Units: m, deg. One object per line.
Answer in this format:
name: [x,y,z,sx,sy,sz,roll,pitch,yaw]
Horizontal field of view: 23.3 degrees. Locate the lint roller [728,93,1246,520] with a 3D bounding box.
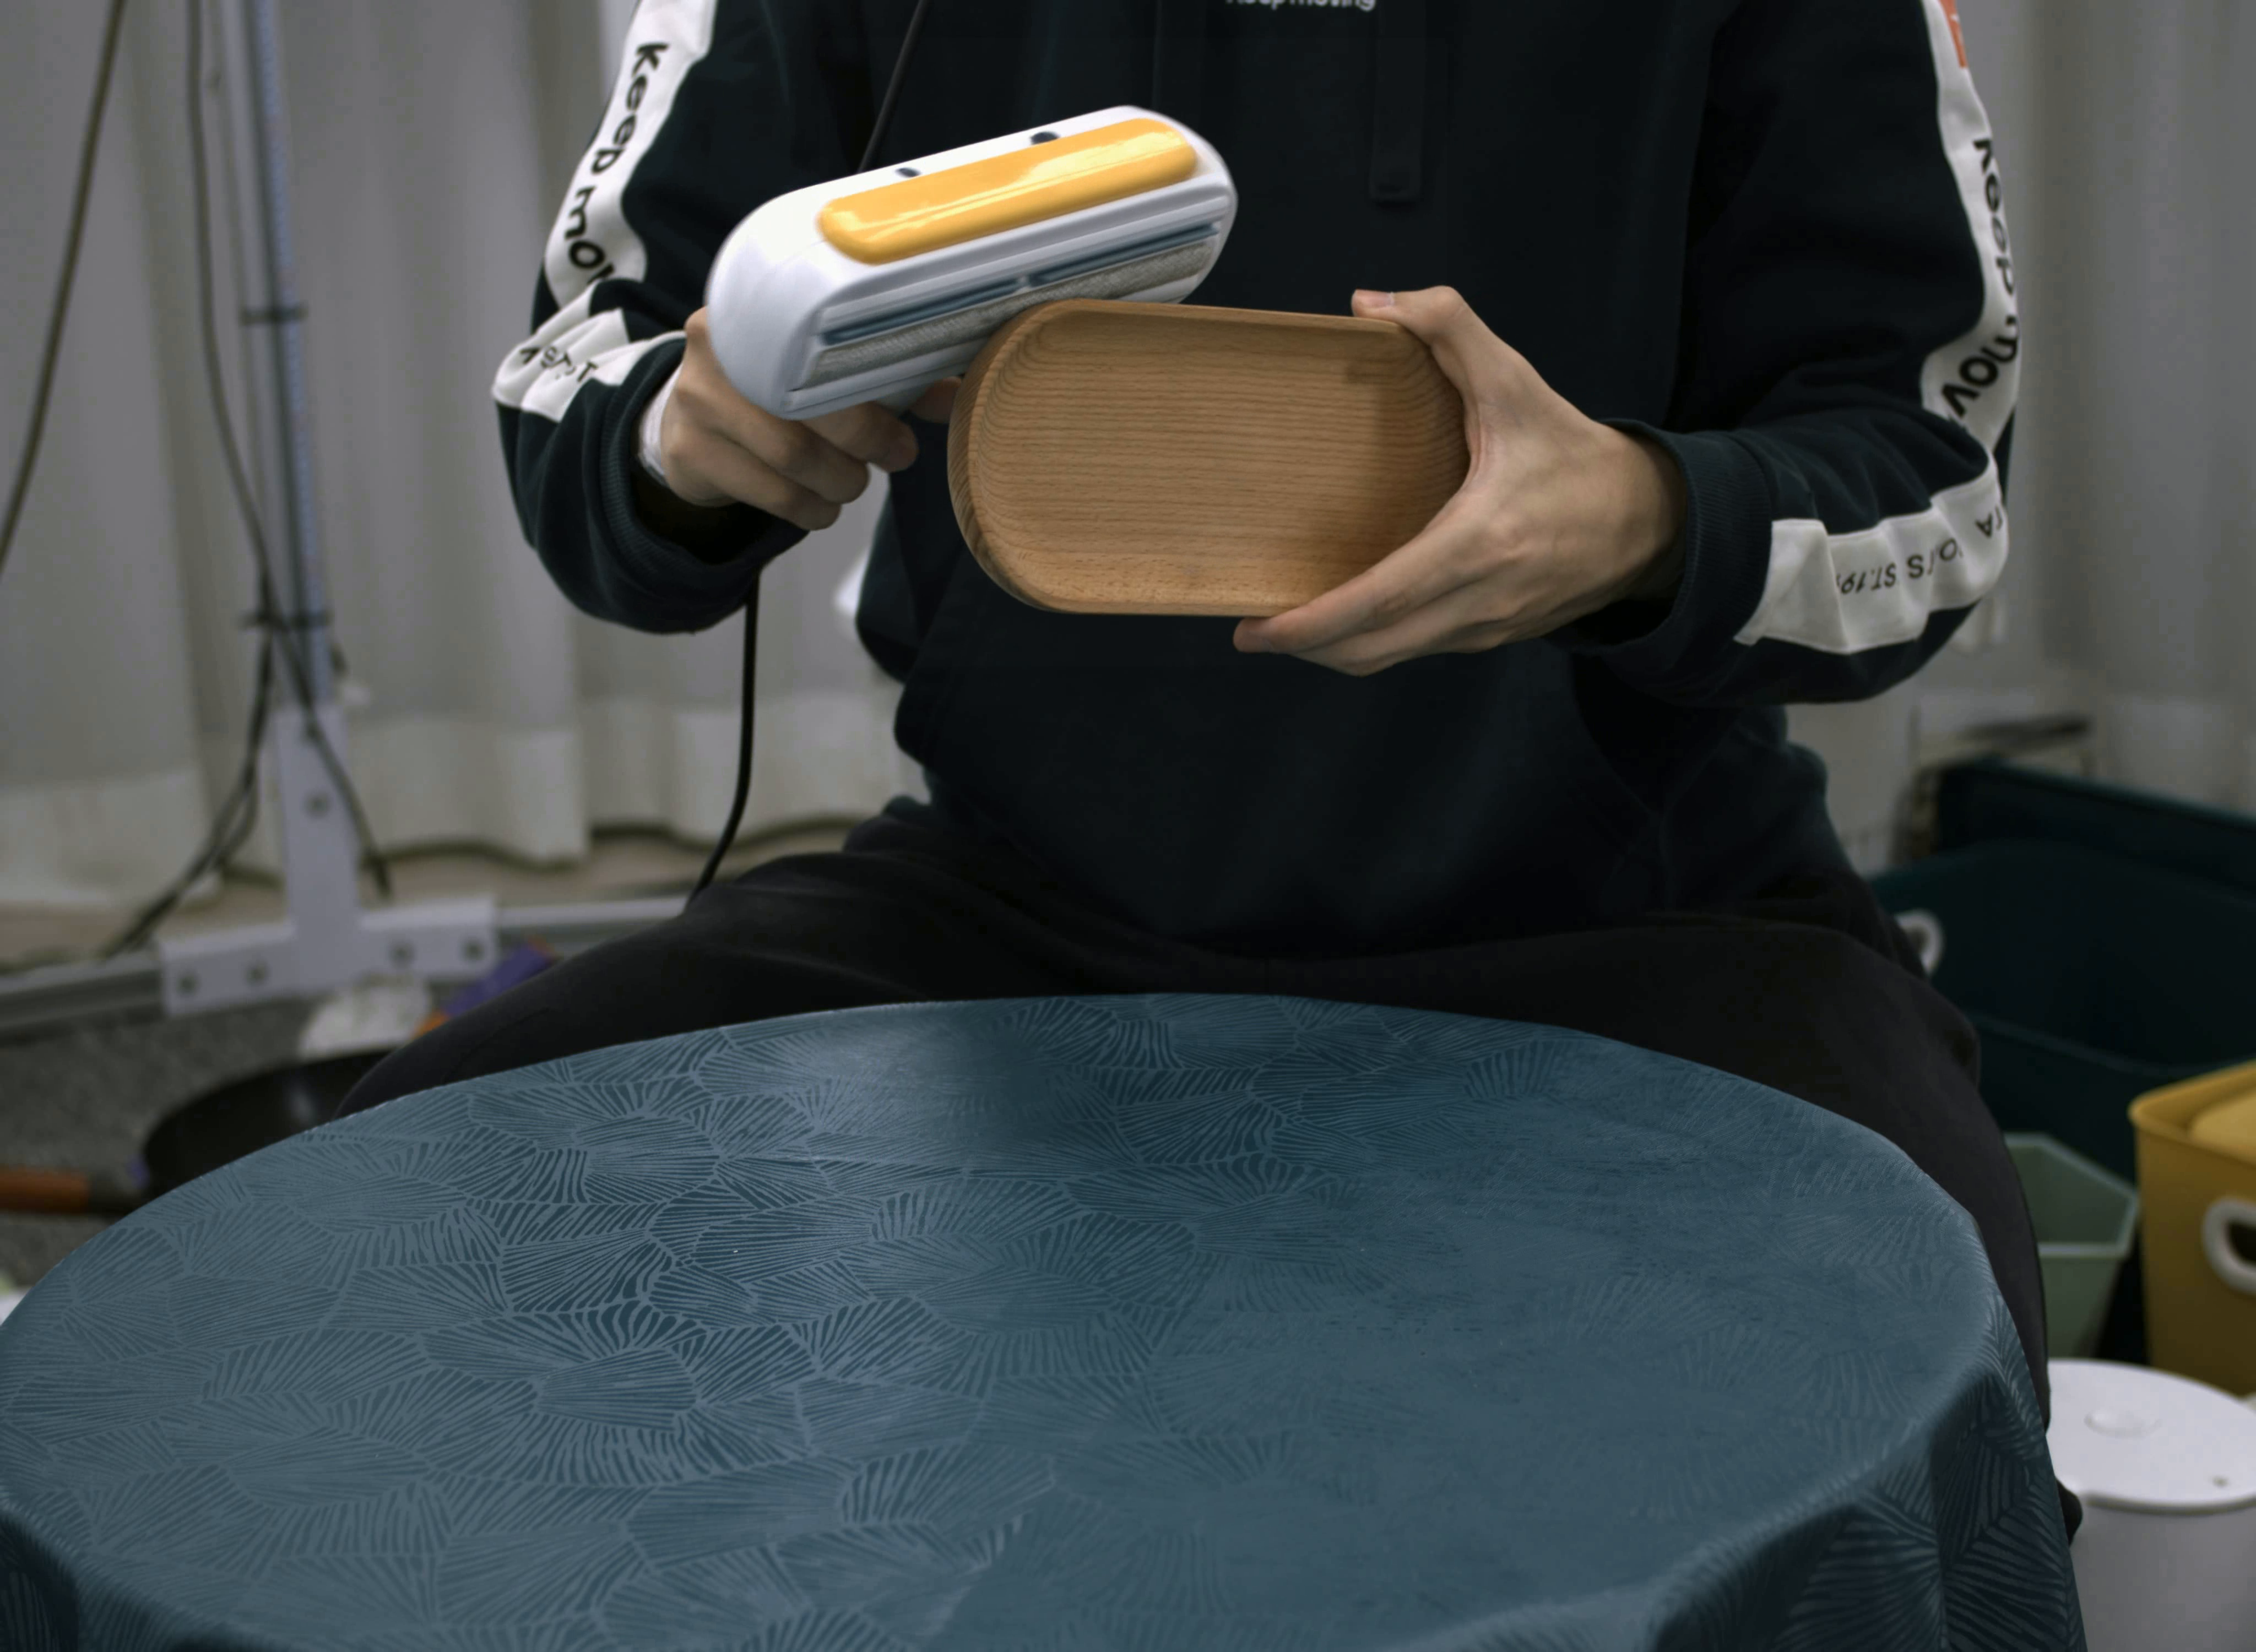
lint roller: [-0.071,-0.153,1.783,0.193,0.191,0.075,-24,68,-43]

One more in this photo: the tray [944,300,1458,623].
tray: [0.026,-0.117,1.779,0.230,0.102,0.020,-2,4,-44]
